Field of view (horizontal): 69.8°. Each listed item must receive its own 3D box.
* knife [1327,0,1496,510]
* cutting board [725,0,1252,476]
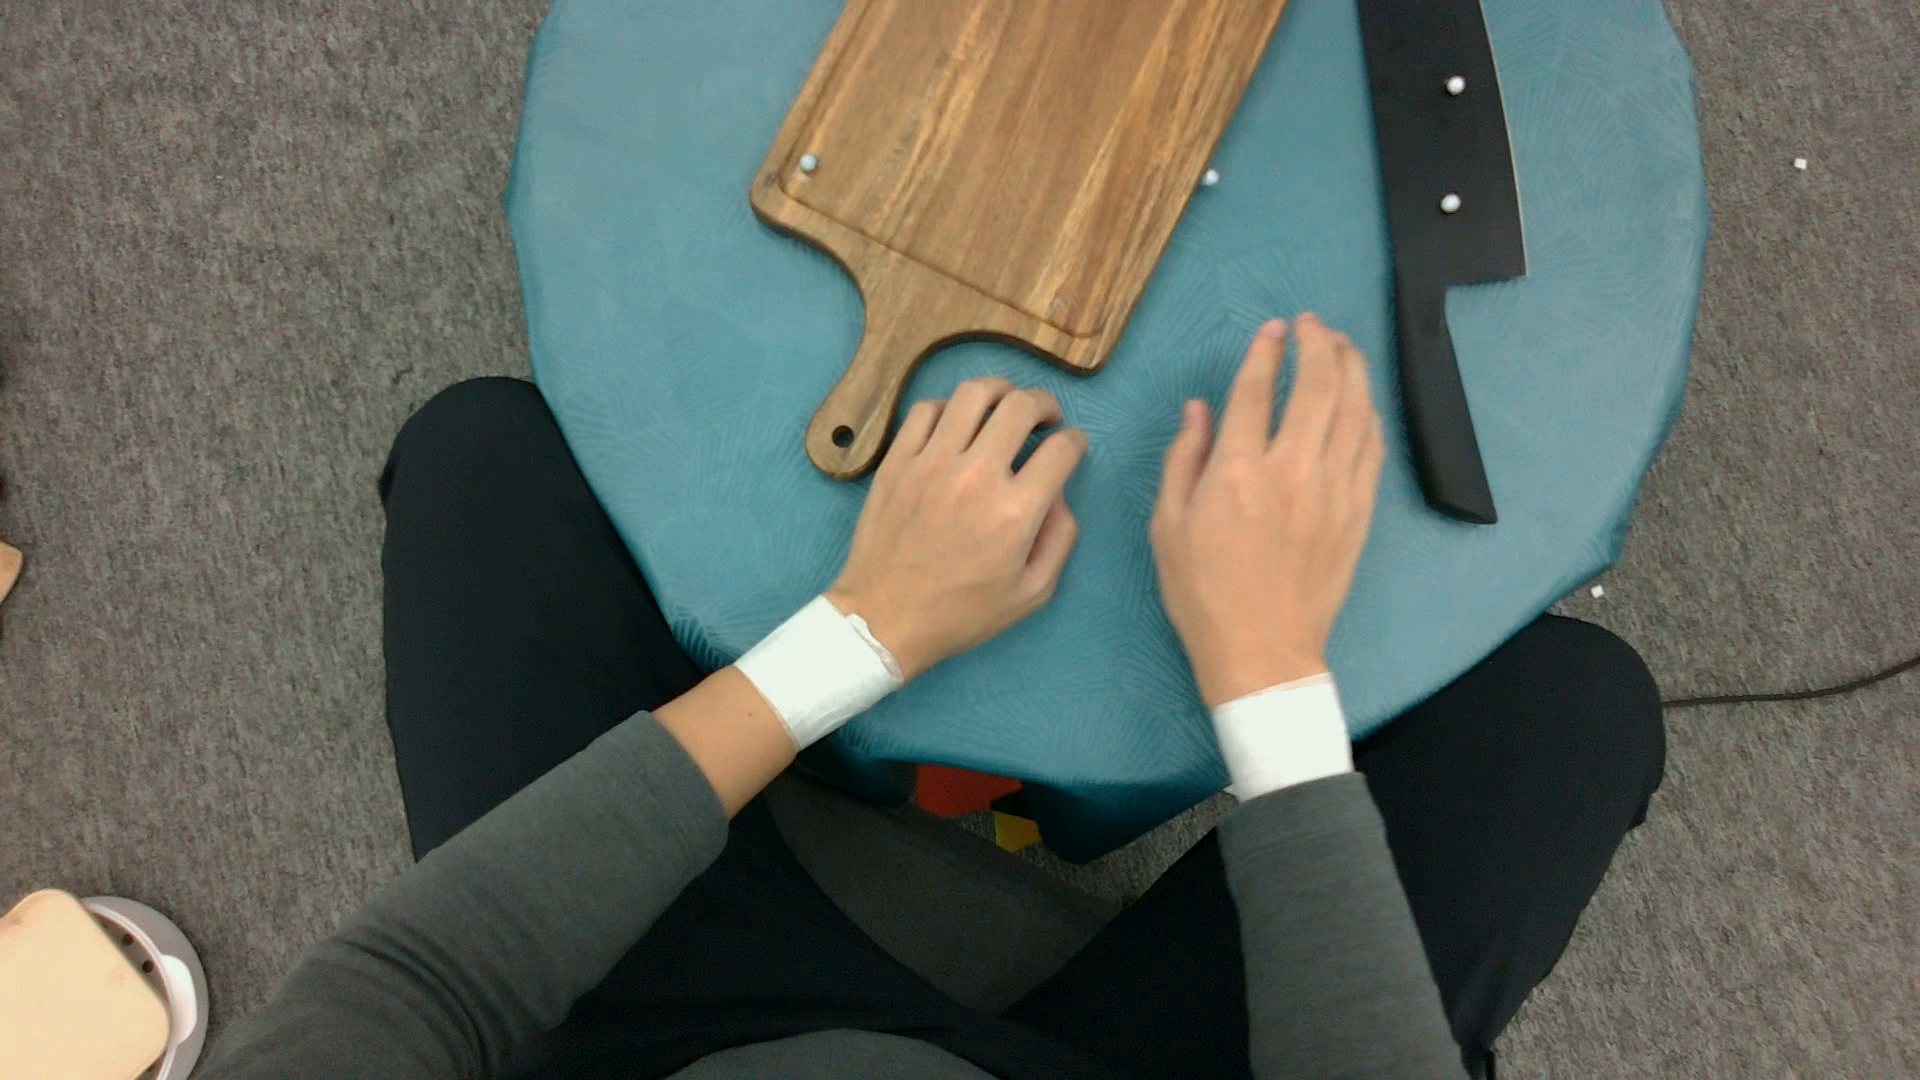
[{"bbox_3d":[0.229,-0.164,0.690,0.081,0.021,0.302,-2,82,-2],"label":"knife"},{"bbox_3d":[0.001,-0.193,0.686,0.201,0.023,0.352,25,84,3],"label":"cutting board"}]
